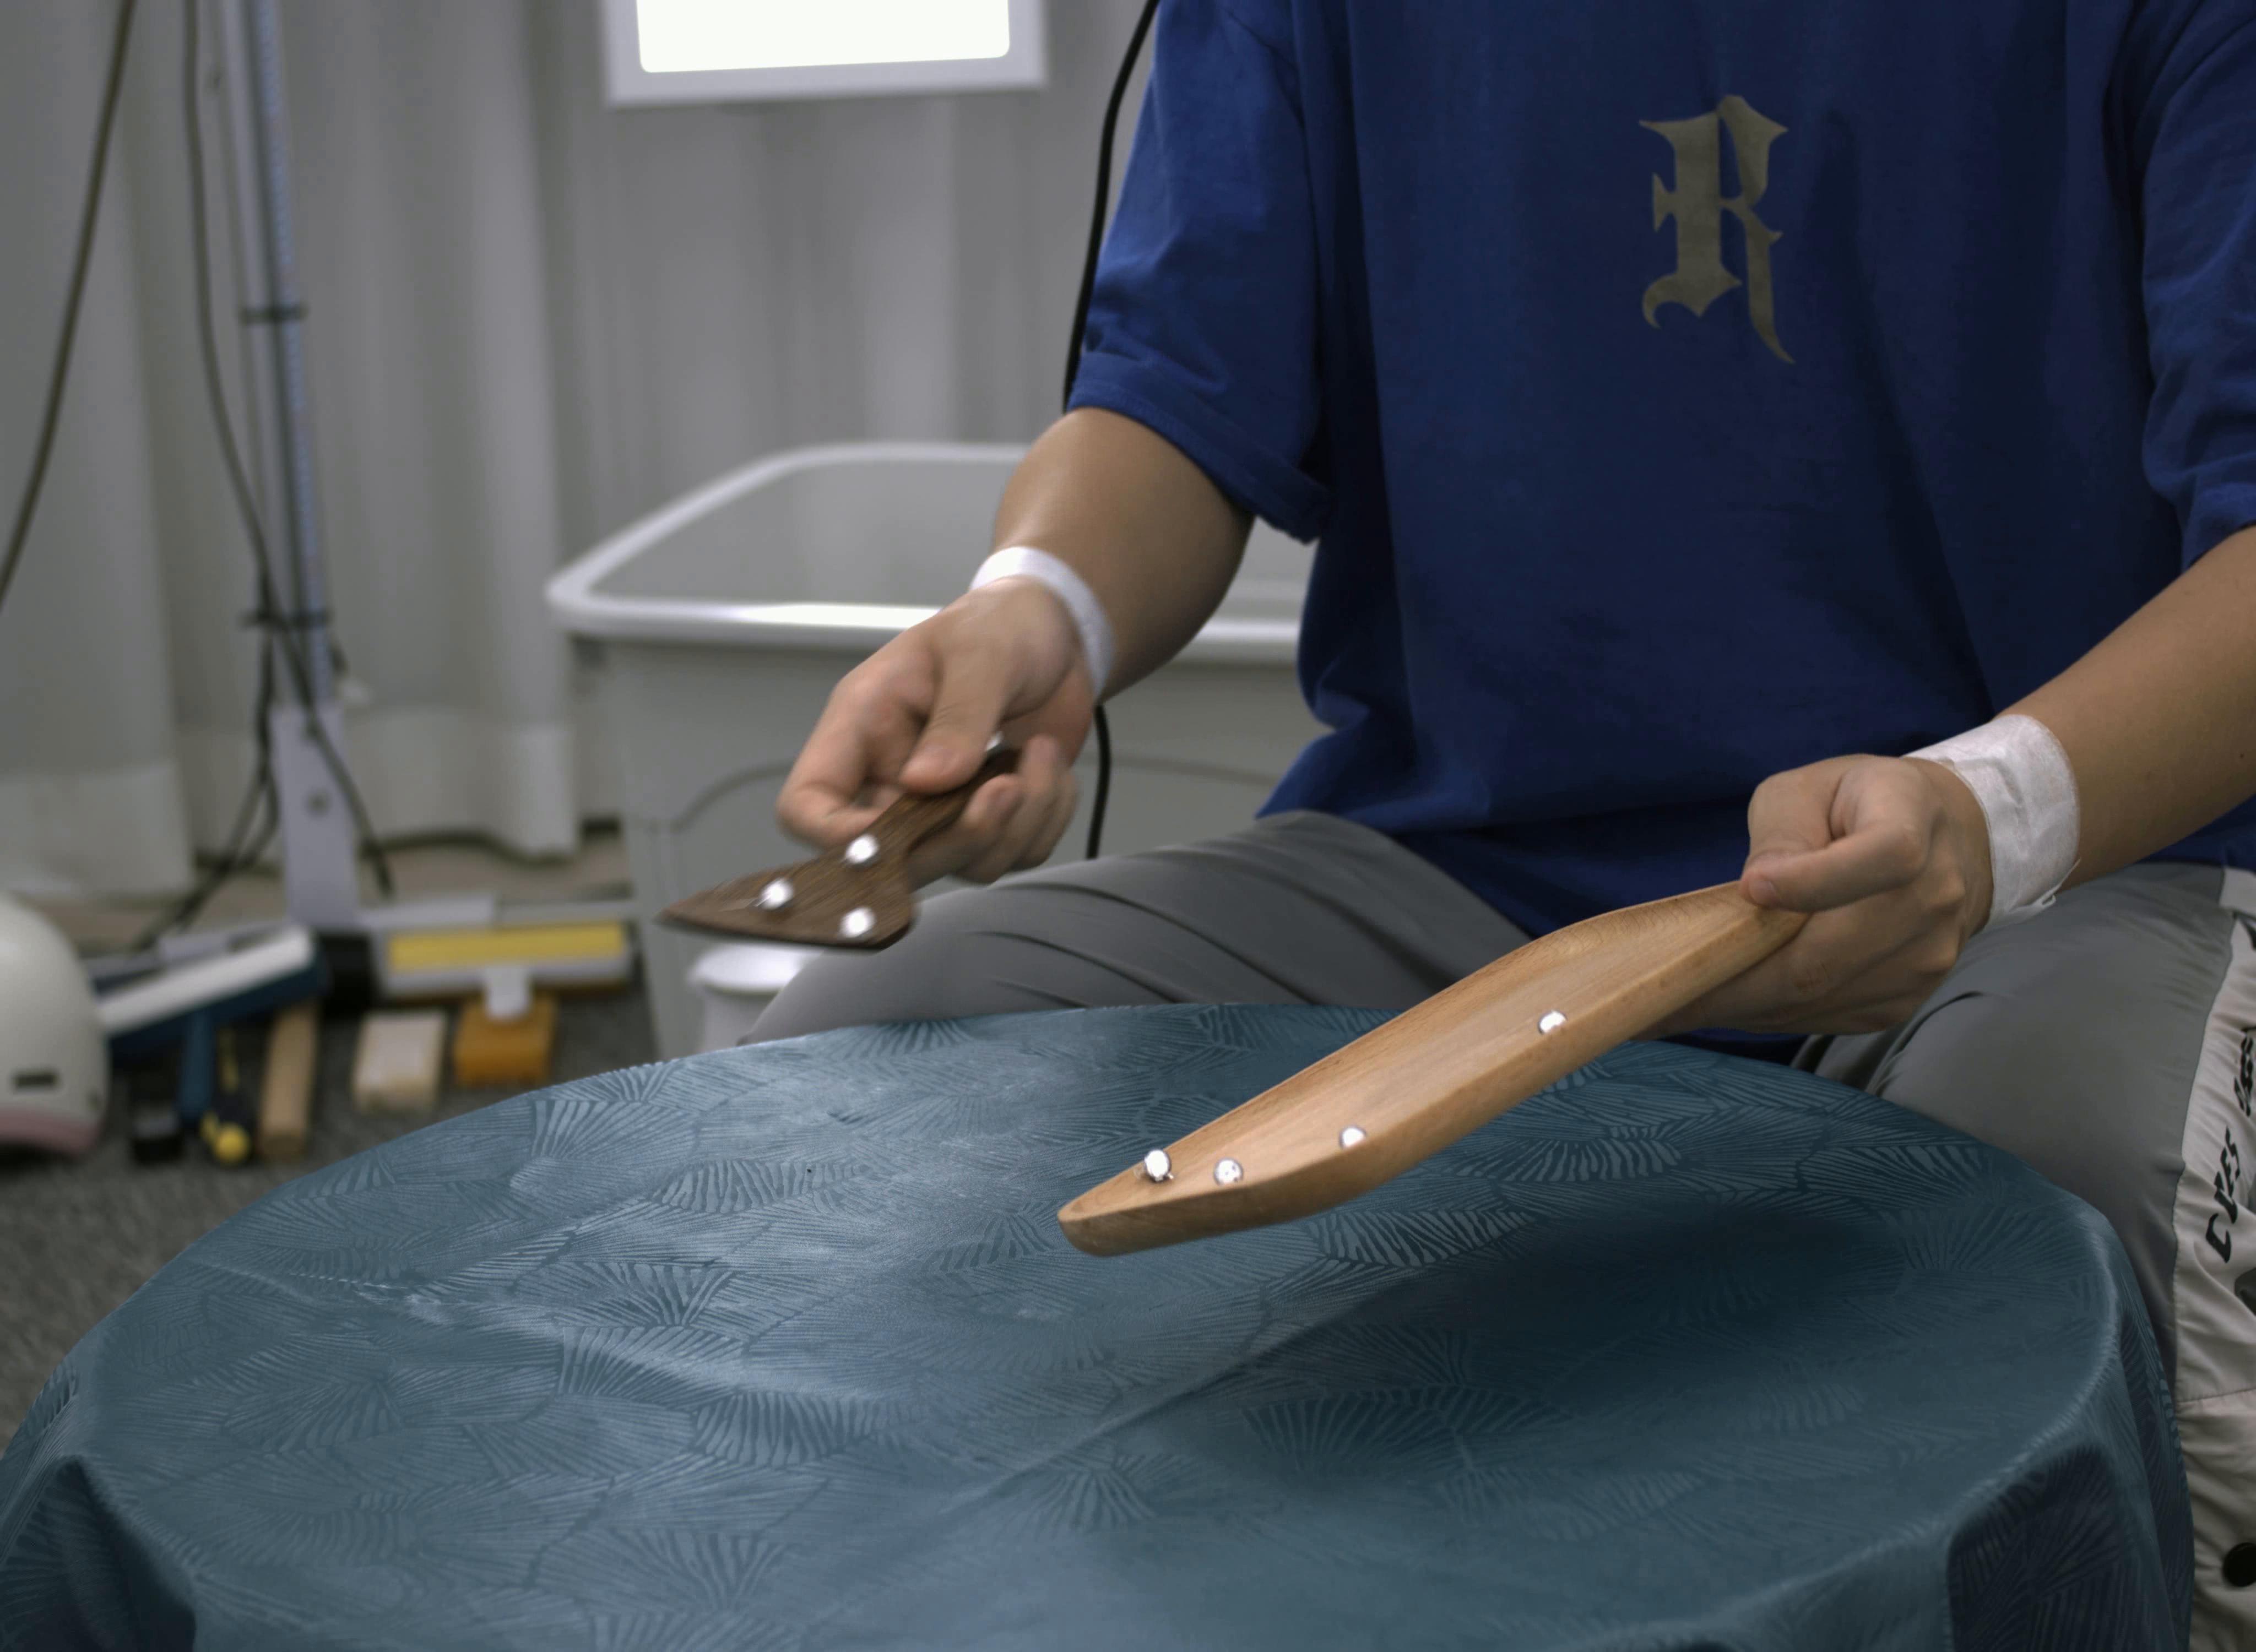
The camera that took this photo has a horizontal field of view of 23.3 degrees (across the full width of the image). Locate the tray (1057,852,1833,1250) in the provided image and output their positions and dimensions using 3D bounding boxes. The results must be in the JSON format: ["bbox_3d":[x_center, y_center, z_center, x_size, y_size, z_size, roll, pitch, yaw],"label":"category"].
[{"bbox_3d":[0.095,0.064,1.581,0.251,0.023,0.130,-26,8,-41],"label":"tray"}]

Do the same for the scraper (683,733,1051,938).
[{"bbox_3d":[-0.070,0.001,1.736,0.076,0.011,0.212,10,19,17],"label":"scraper"}]
